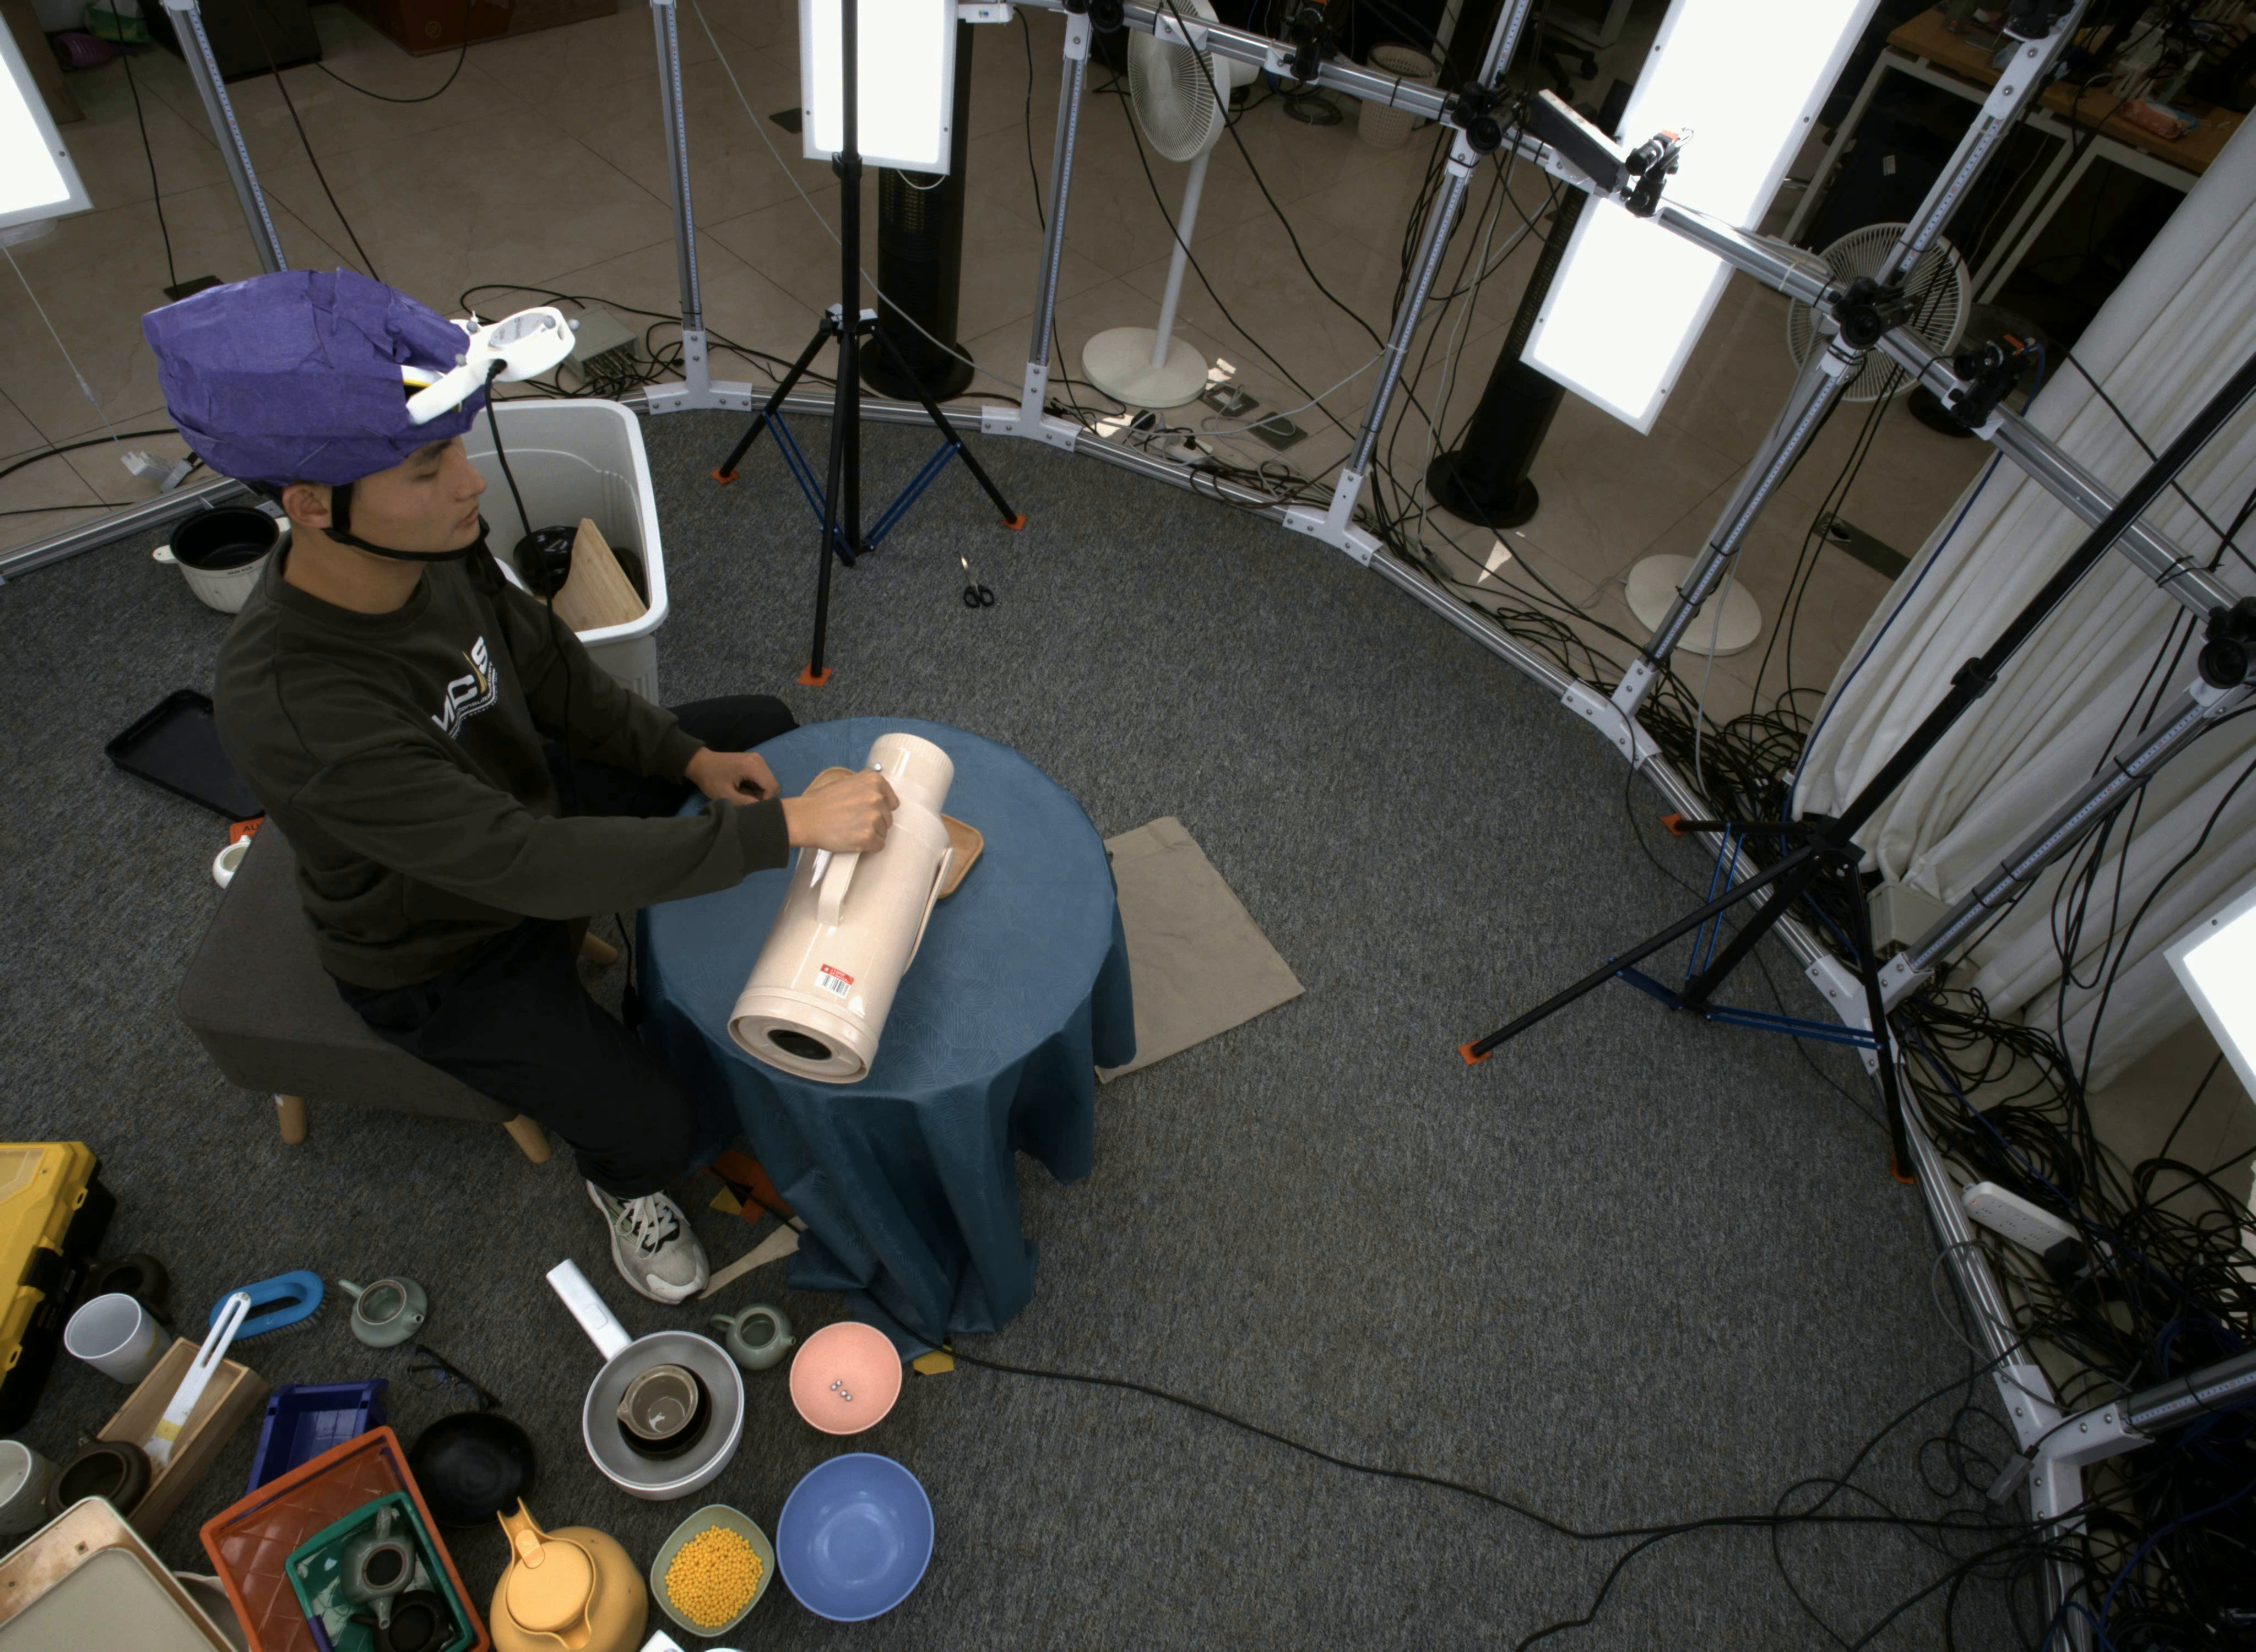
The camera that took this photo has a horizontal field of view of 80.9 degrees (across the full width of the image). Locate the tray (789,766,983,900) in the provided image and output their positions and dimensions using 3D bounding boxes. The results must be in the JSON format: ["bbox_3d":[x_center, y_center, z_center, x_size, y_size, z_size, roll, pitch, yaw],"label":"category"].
[{"bbox_3d":[-0.323,0.007,1.744,0.247,0.023,0.130,25,50,7],"label":"tray"}]

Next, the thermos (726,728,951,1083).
[{"bbox_3d":[-0.313,0.069,1.482,0.173,0.212,0.402,14,58,4],"label":"thermos"}]
